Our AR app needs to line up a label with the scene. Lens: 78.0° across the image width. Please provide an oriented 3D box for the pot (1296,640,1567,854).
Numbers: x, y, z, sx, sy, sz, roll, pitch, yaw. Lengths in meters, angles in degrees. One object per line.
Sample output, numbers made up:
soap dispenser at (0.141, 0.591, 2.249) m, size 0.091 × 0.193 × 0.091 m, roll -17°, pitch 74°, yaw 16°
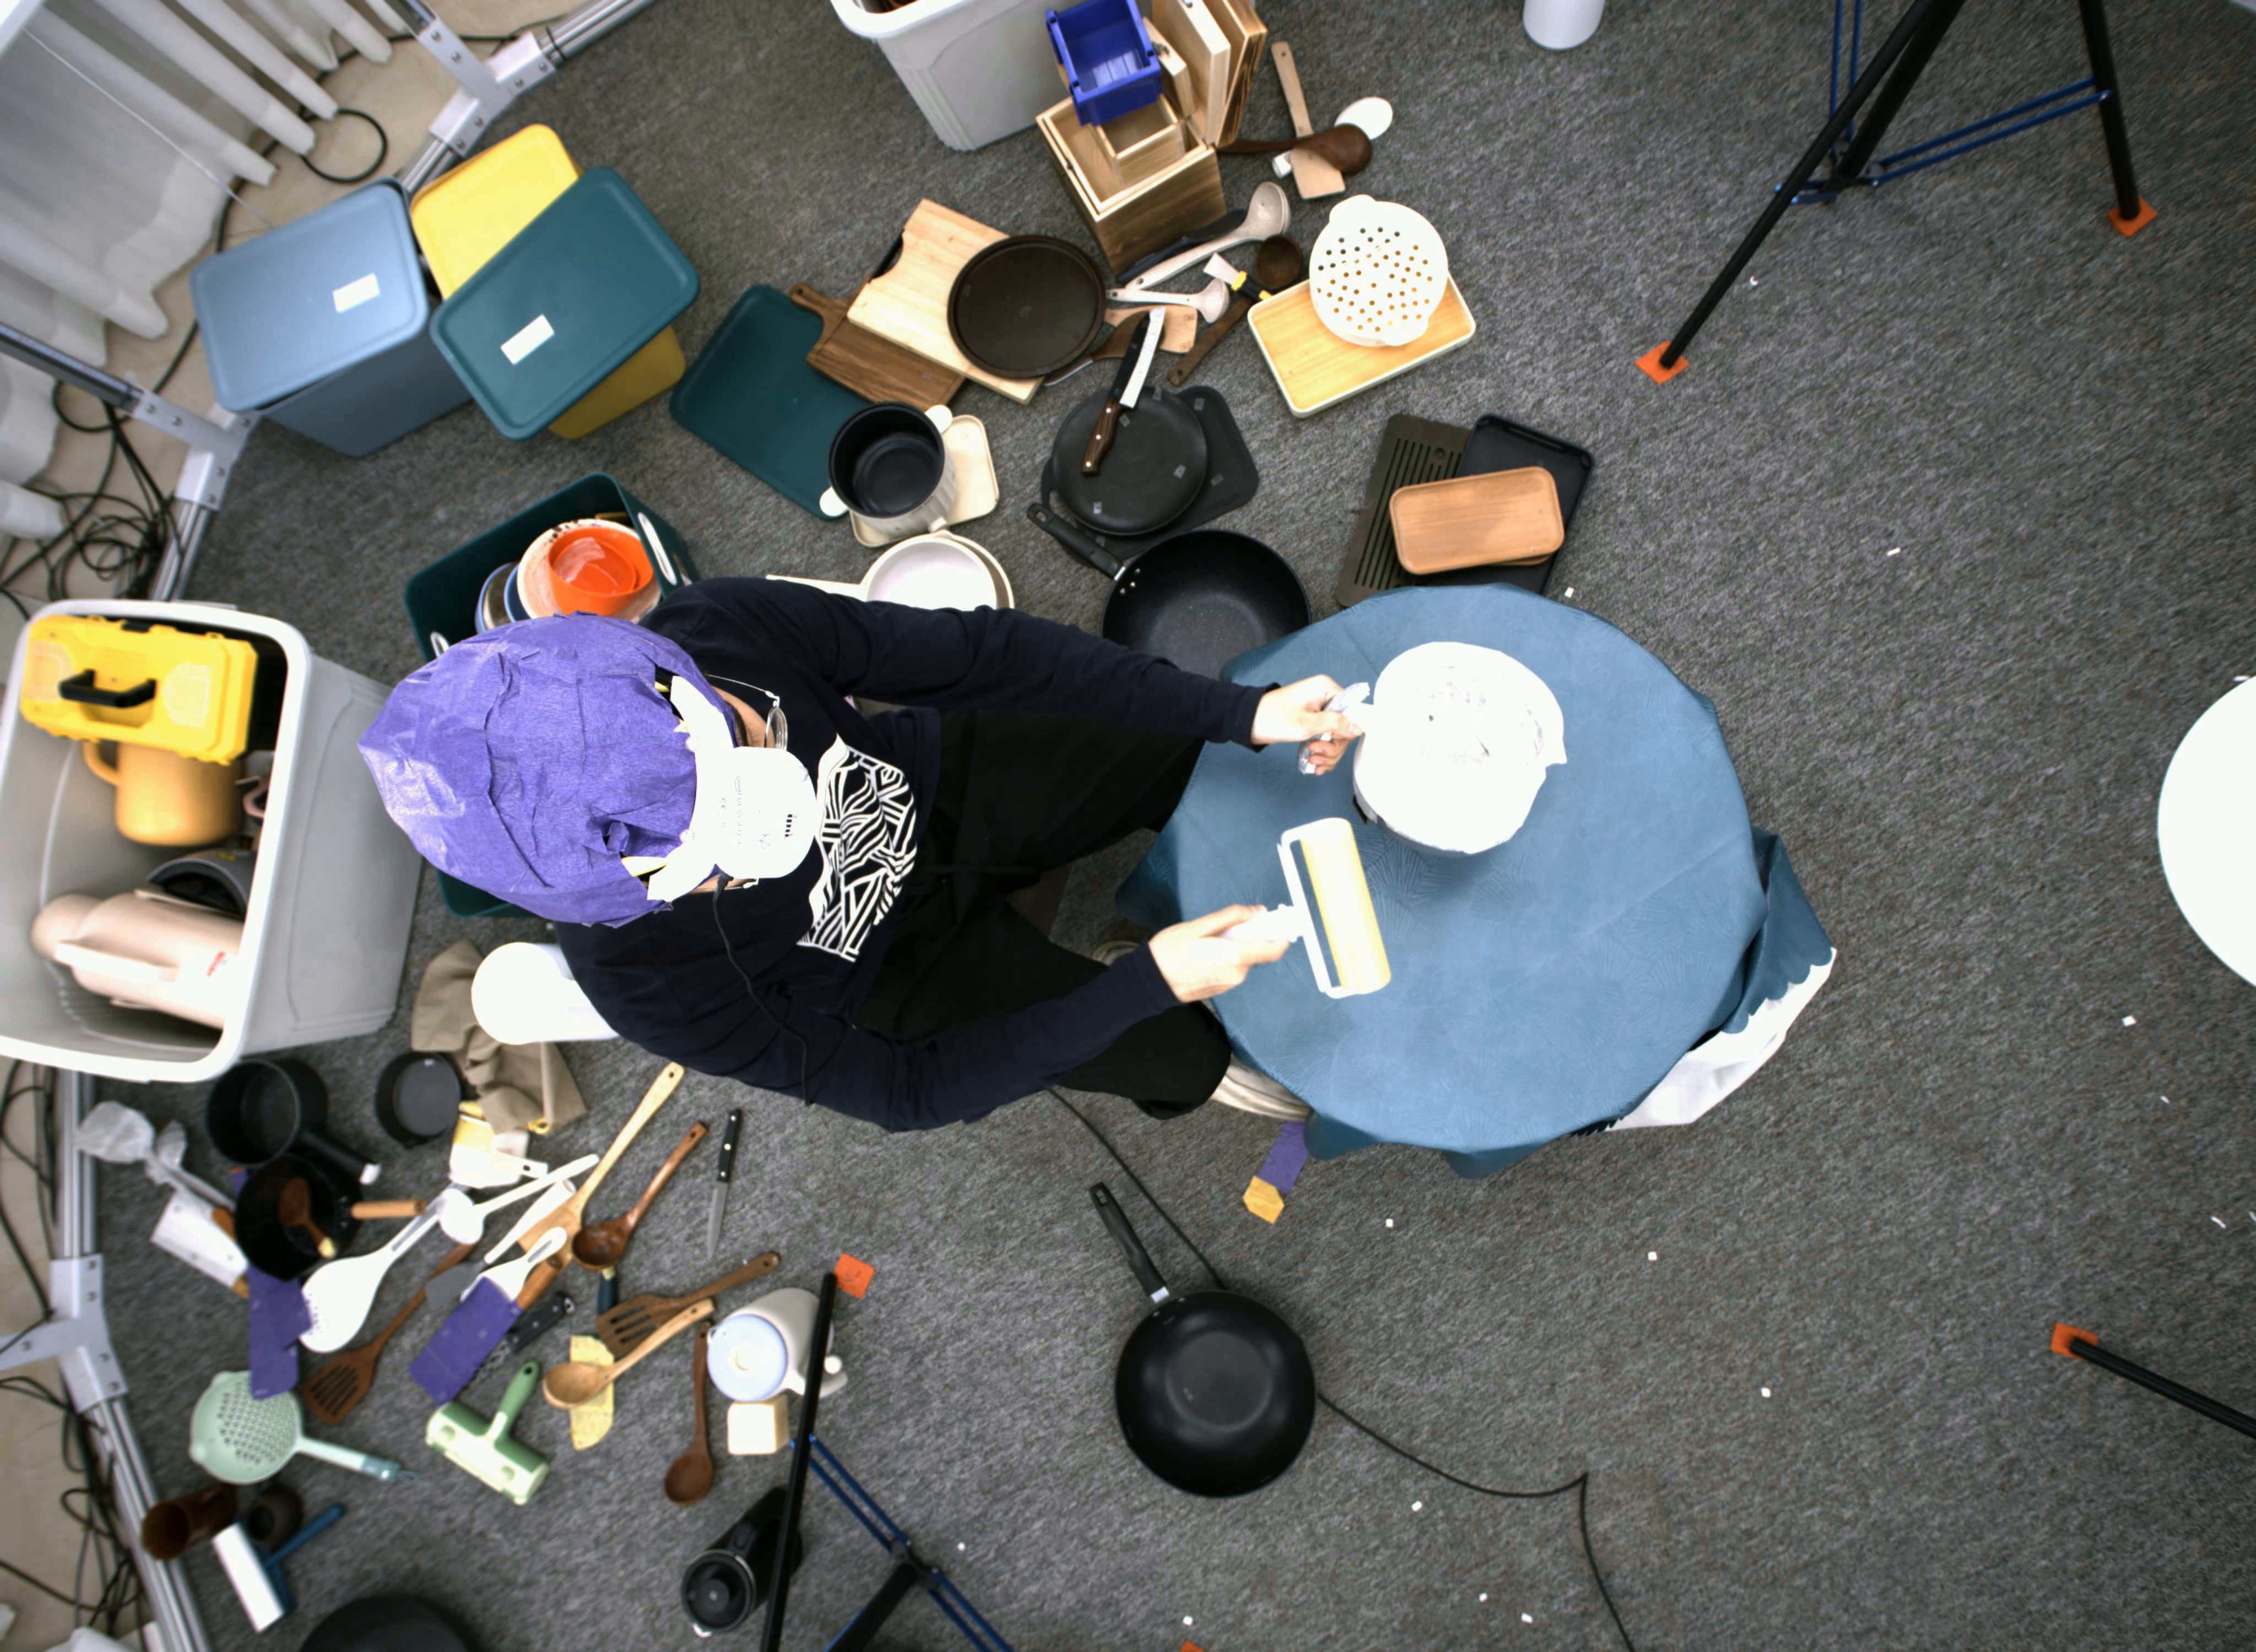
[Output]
pot at (0.284, -0.078, 1.314) m, size 0.234 × 0.140 × 0.174 m, roll 11°, pitch 50°, yaw 0°

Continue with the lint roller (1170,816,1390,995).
lint roller at (0.133, 0.098, 1.293) m, size 0.192 × 0.051 × 0.176 m, roll -21°, pitch 110°, yaw -2°
